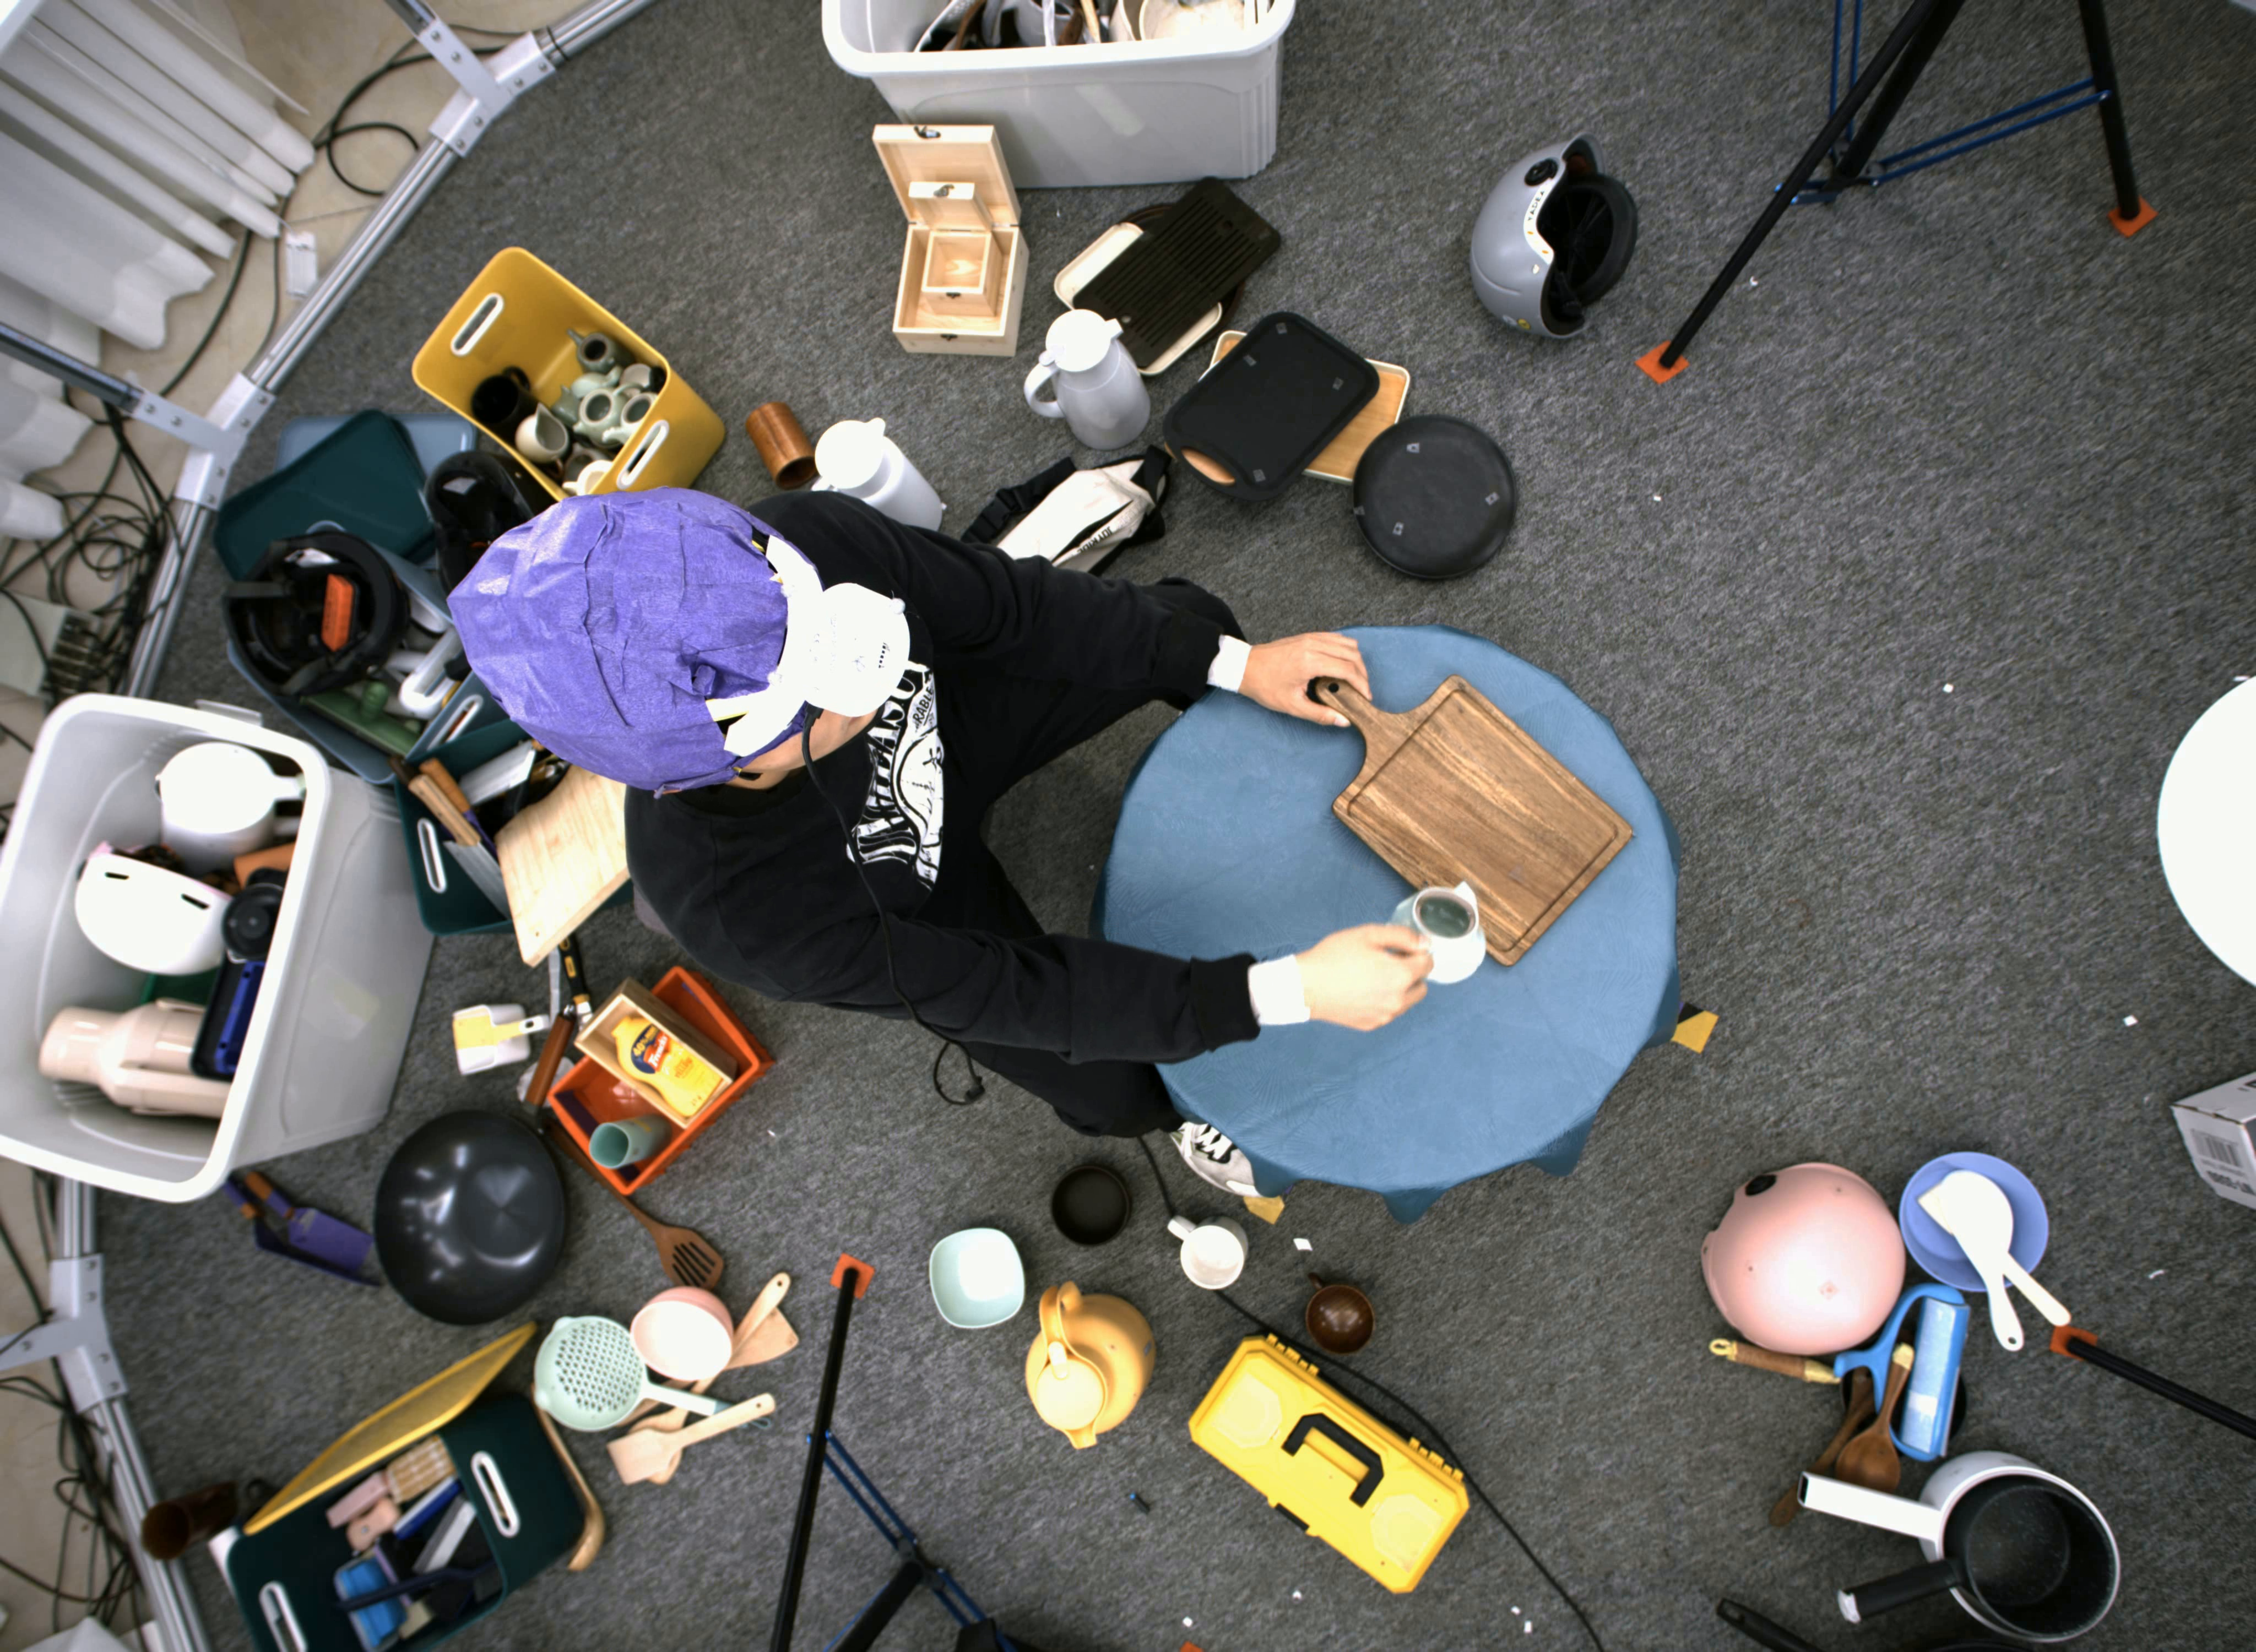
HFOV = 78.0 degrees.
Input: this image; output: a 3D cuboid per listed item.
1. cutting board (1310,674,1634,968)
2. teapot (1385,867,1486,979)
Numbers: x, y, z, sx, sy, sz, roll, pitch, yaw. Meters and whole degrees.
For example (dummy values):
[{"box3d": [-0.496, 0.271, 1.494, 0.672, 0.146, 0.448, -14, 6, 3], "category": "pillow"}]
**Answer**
[{"box3d": [0.329, -0.040, 1.431, 0.351, 0.023, 0.202, 42, 95, 5], "category": "cutting board"}, {"box3d": [0.290, 0.096, 1.294, 0.096, 0.063, 0.134, 31, 52, 19], "category": "teapot"}]
